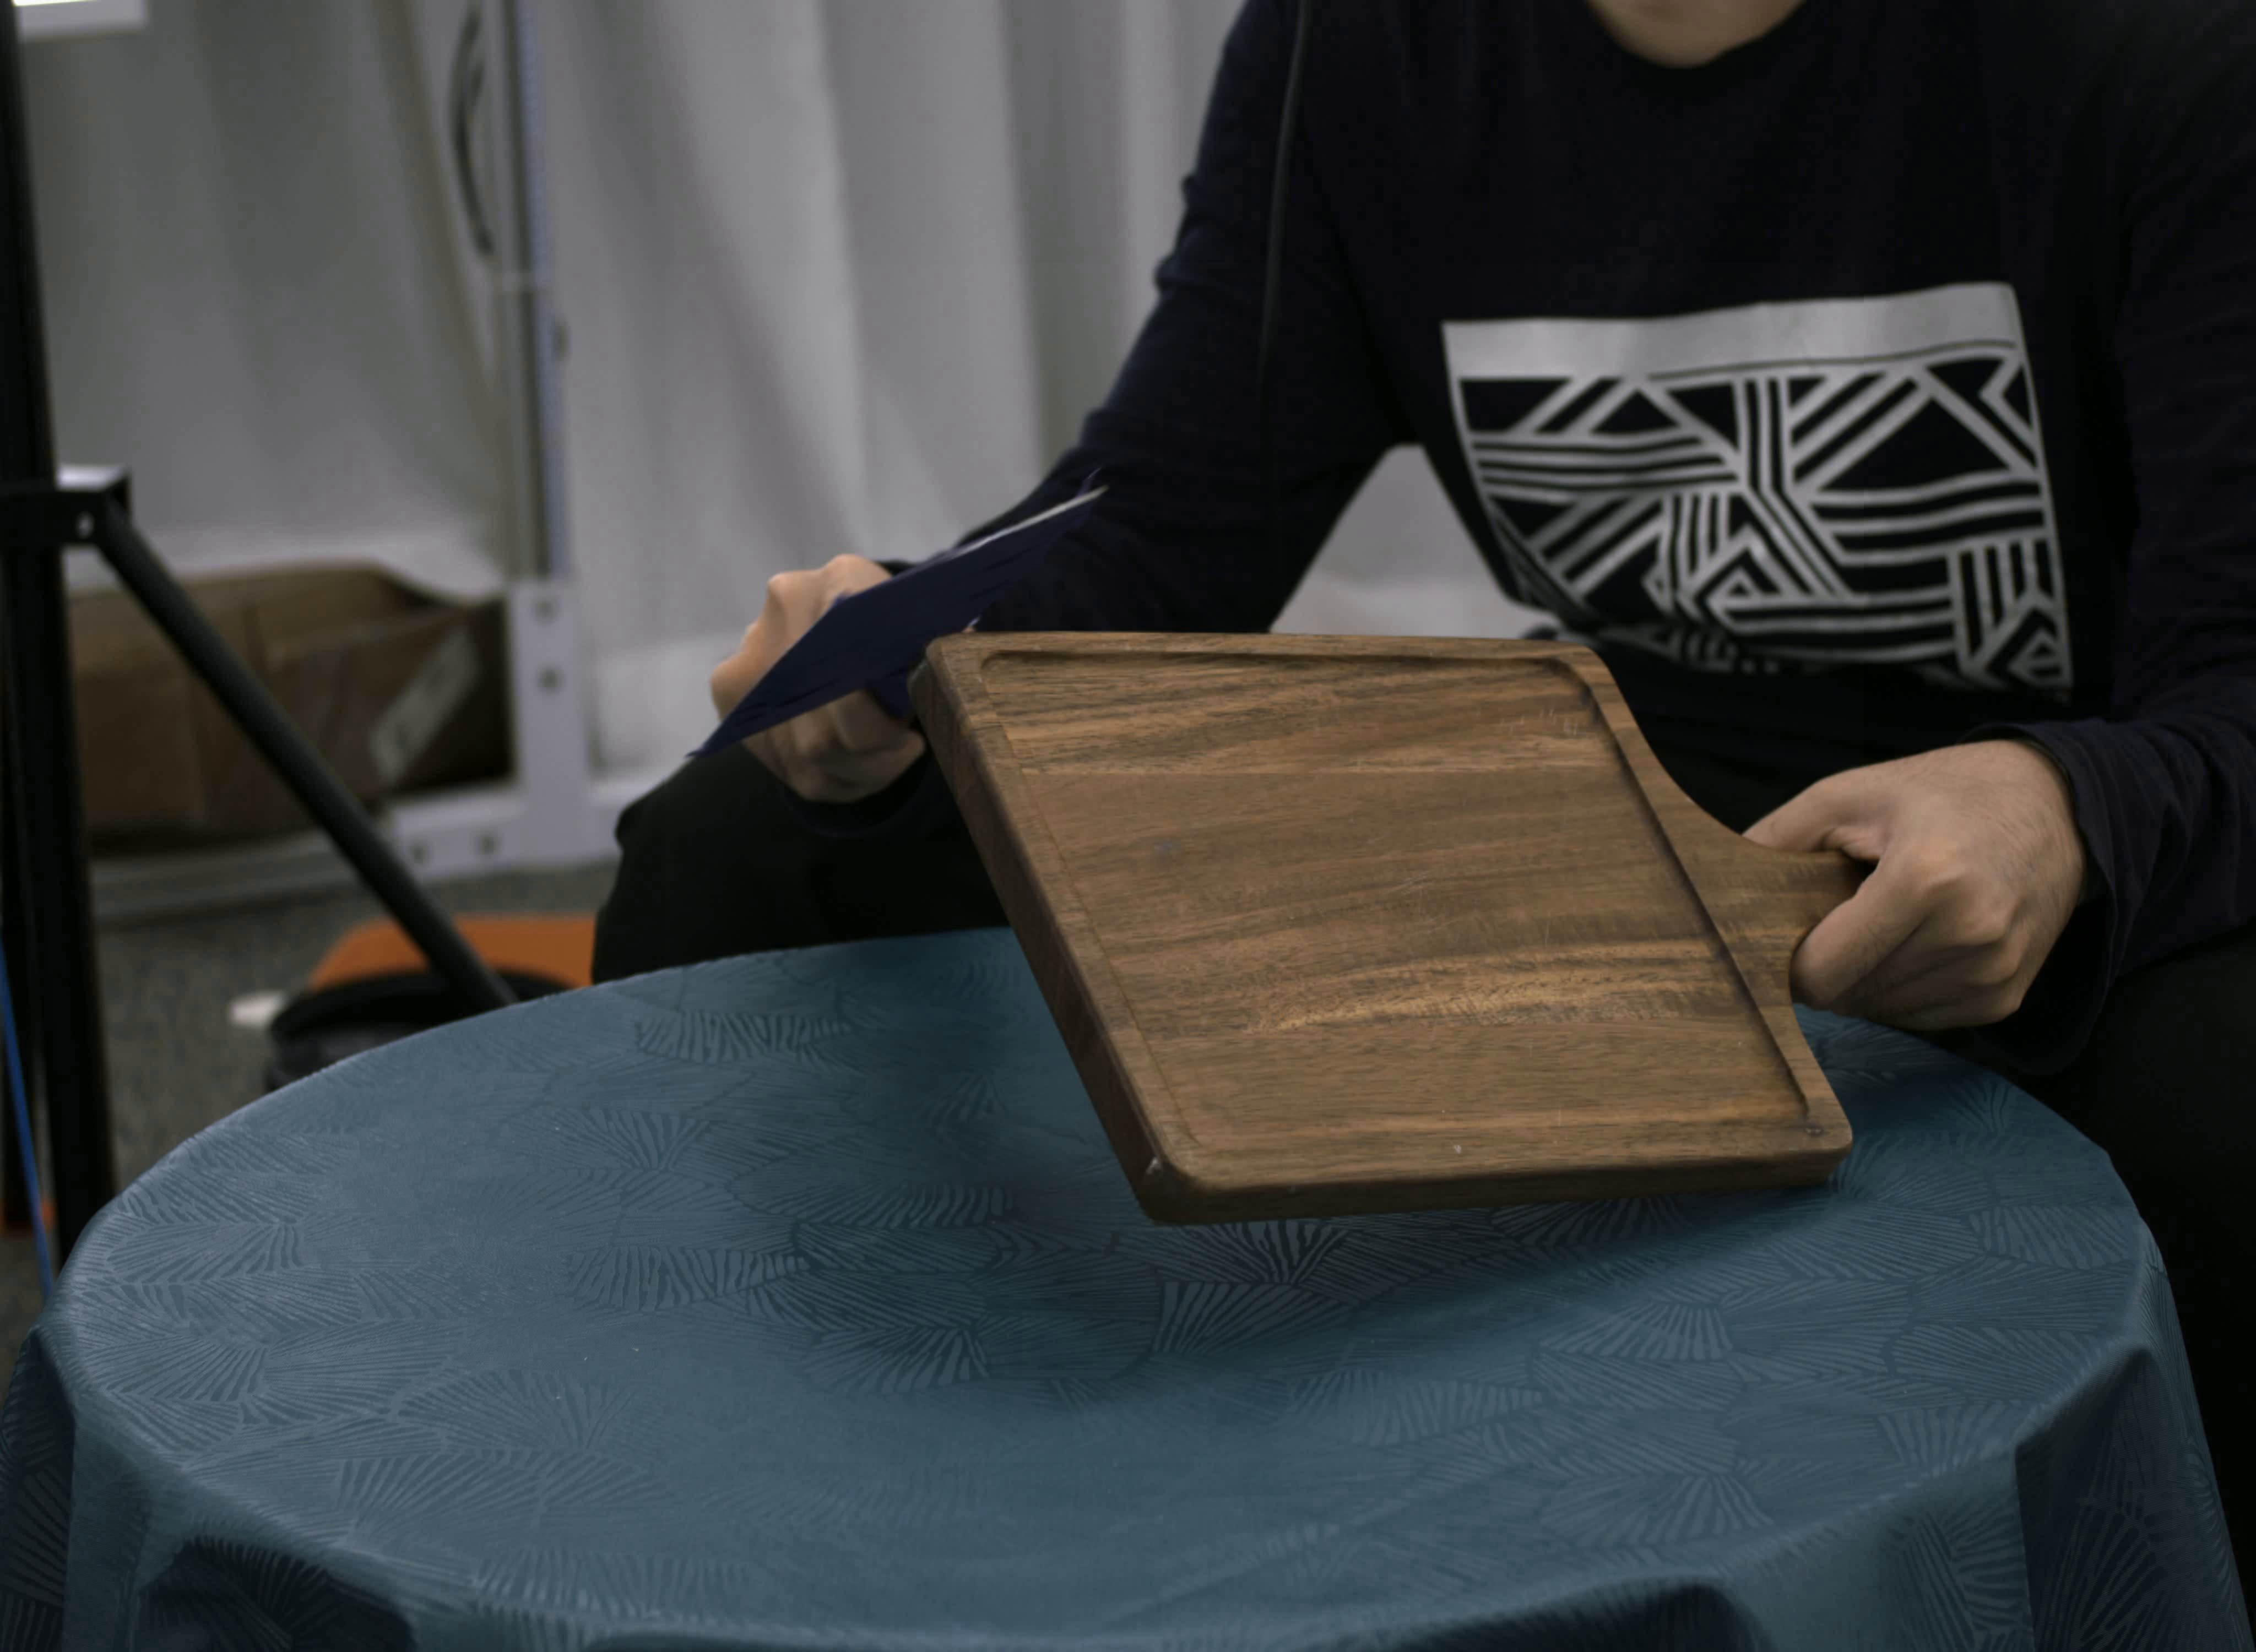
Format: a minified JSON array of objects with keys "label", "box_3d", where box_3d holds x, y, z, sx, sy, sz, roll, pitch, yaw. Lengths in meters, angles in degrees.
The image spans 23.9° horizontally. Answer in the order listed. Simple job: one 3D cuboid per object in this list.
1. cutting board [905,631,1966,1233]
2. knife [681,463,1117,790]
[{"label":"cutting board","box_3d":[0.114,0.026,1.550,0.343,0.023,0.205,0,50,-35]},{"label":"knife","box_3d":[-0.090,-0.051,1.649,0.102,0.032,0.317,-22,-7,-19]}]
